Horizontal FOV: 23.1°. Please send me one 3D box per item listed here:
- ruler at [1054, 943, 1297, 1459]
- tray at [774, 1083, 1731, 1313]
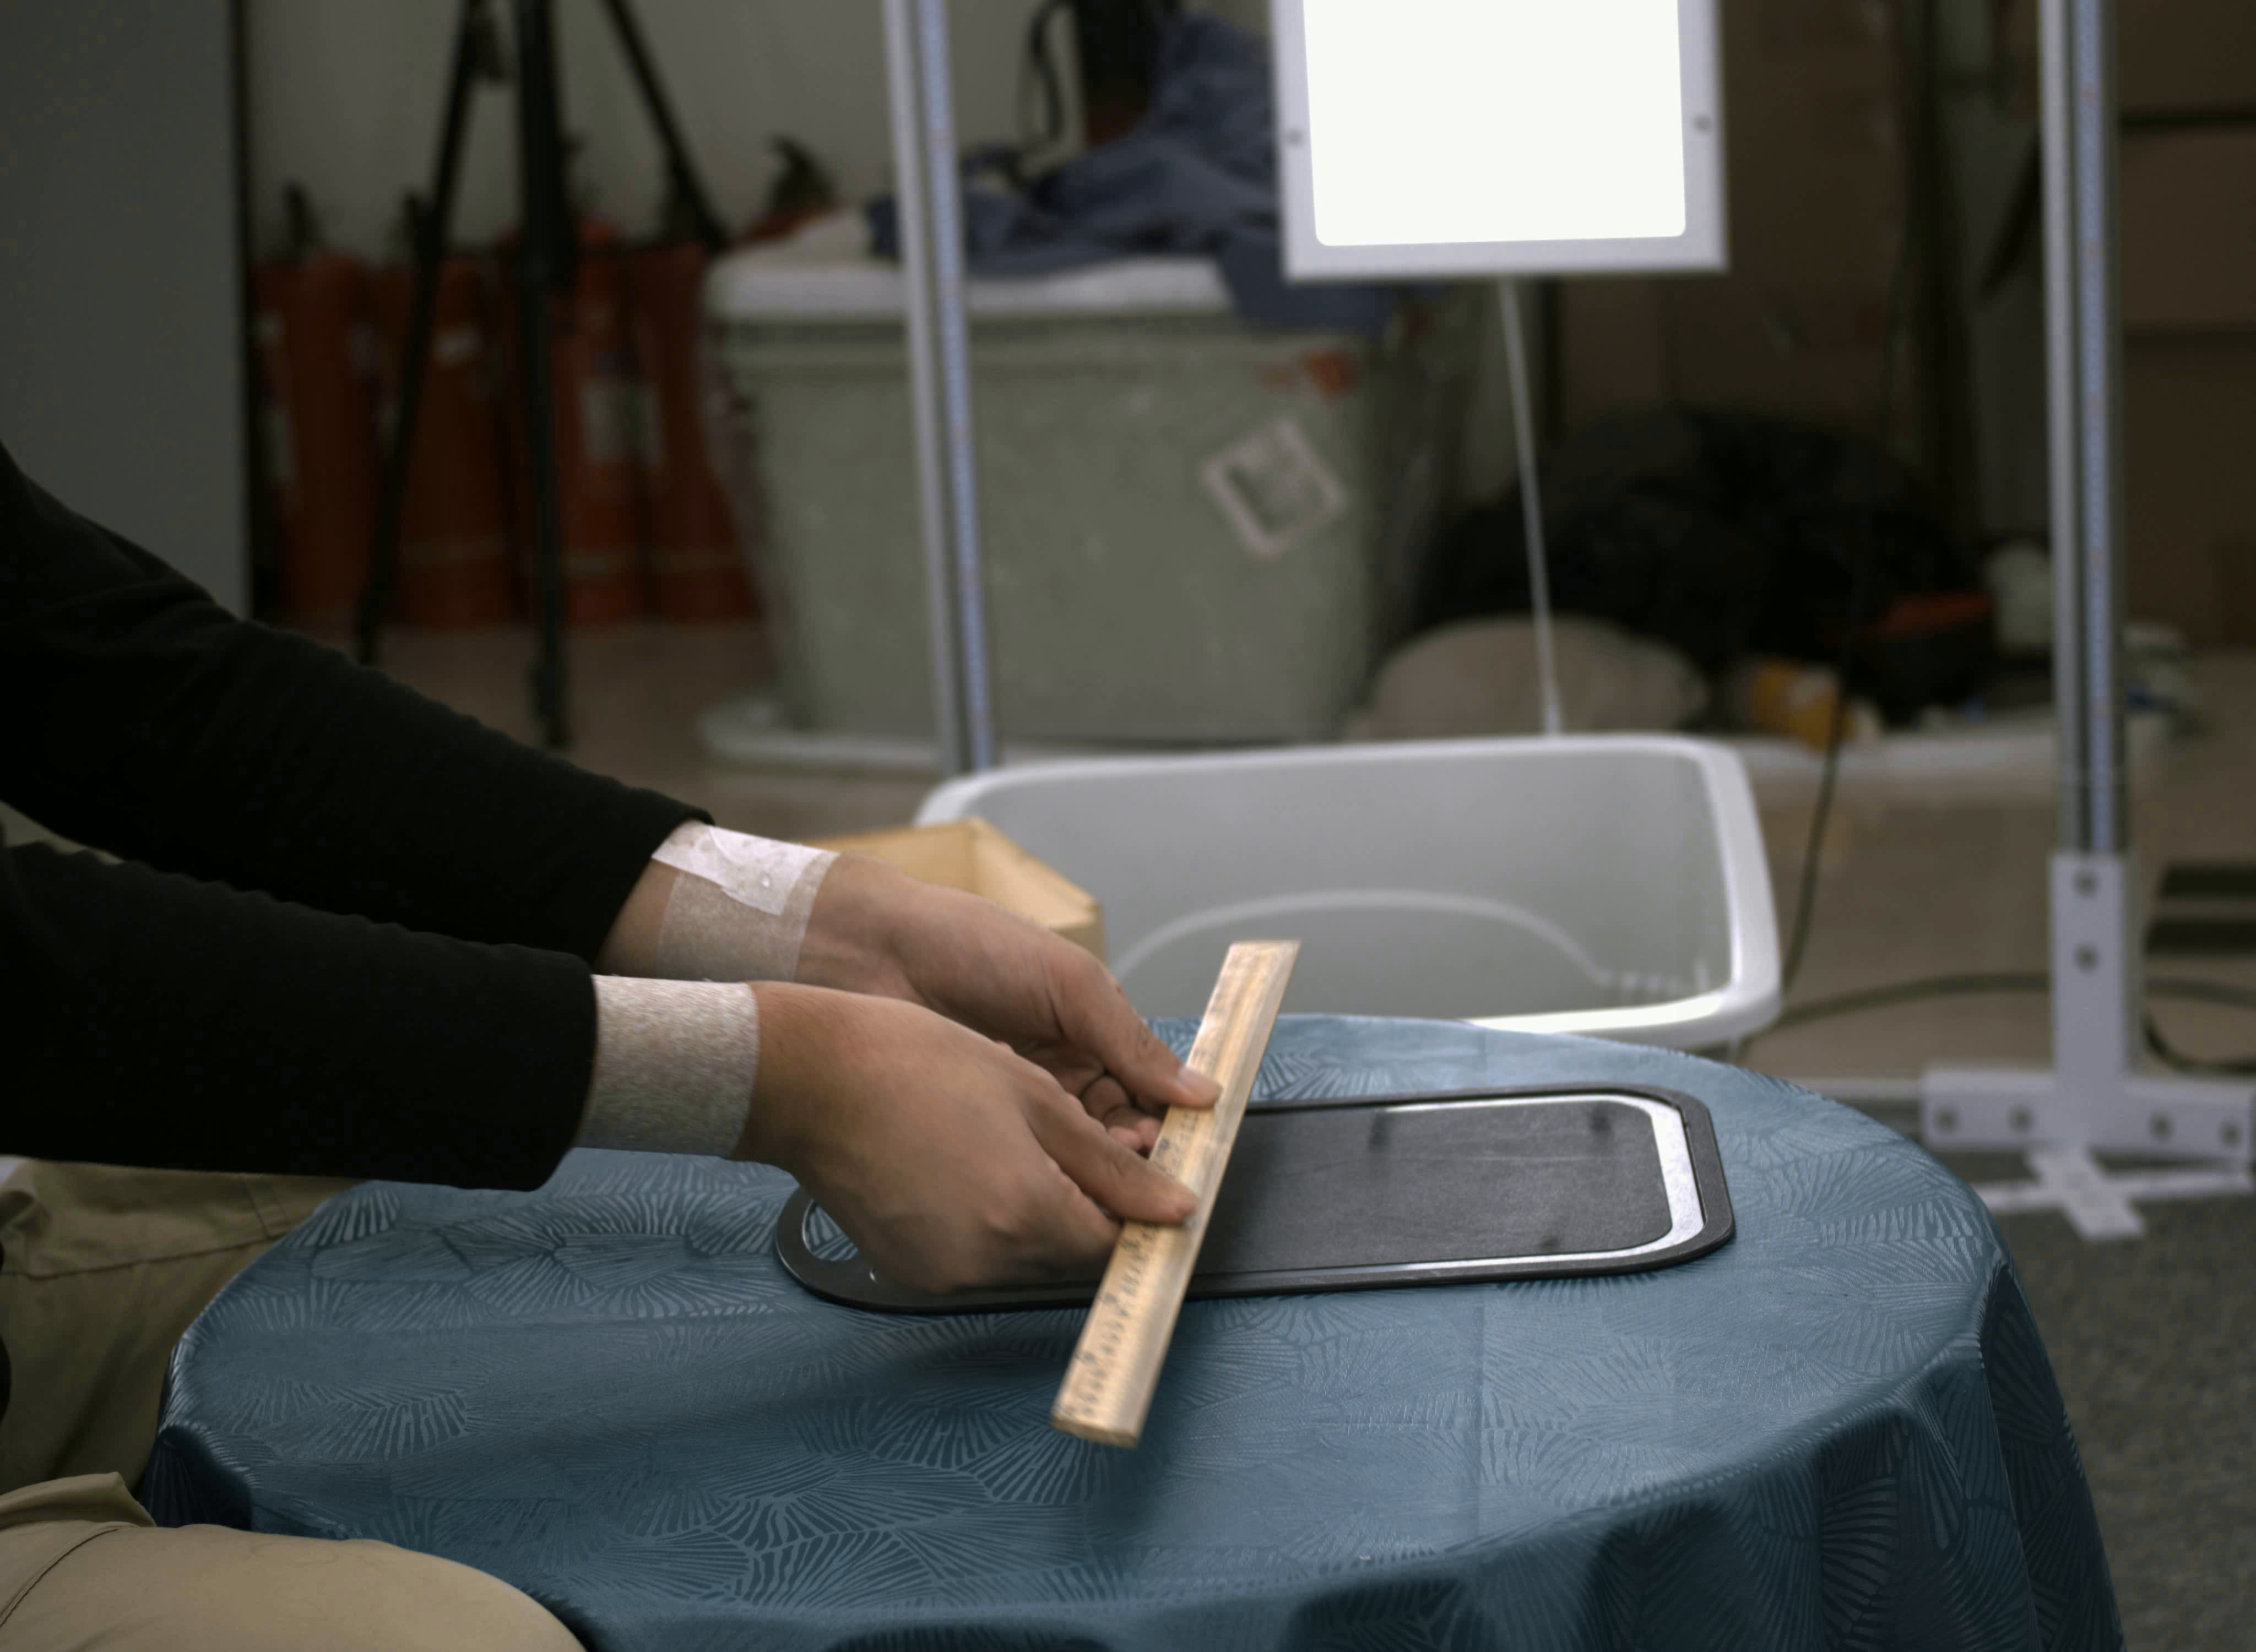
[{"bbox_3d":[0.021,0.111,1.809,0.027,0.006,0.496,12,16,4],"label":"ruler"},{"bbox_3d":[0.041,0.124,1.878,0.326,0.010,0.210,-4,14,6],"label":"tray"}]
